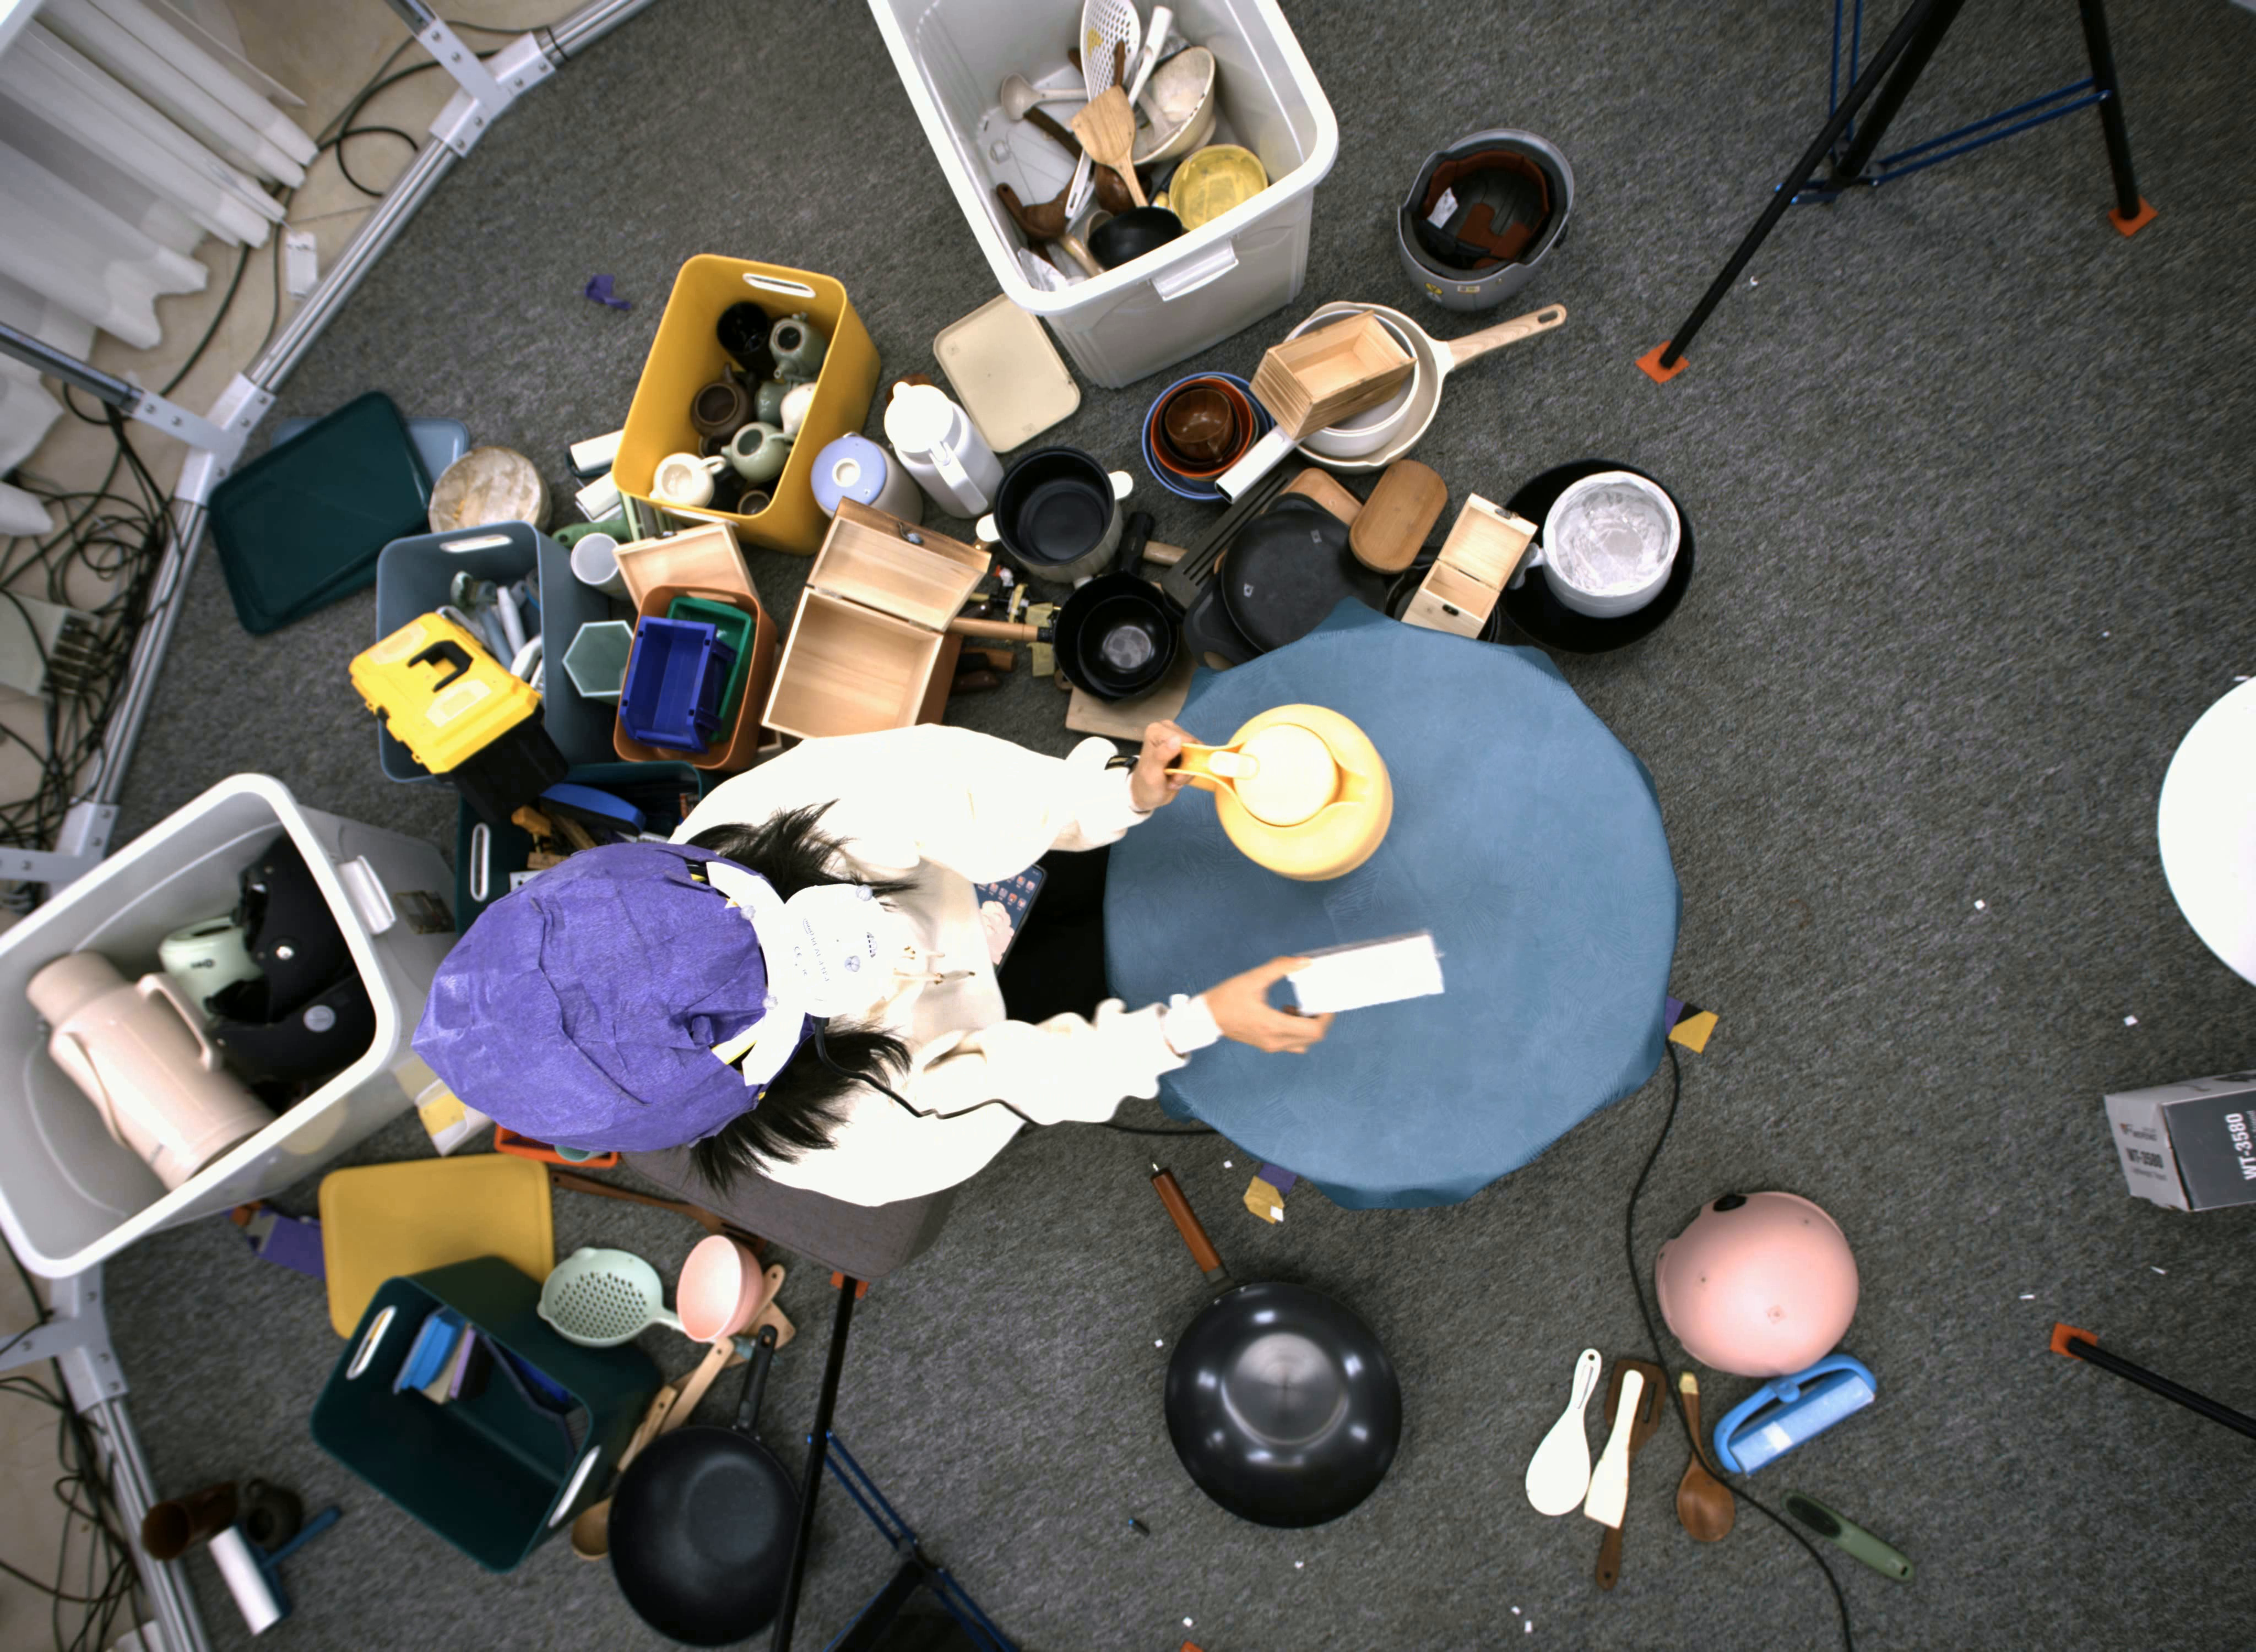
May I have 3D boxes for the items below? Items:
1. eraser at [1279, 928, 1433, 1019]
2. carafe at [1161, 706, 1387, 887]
[{"bbox_3d":[0.213,0.135,1.293,0.135,0.045,0.050,-16,113,19],"label":"eraser"},{"bbox_3d":[0.142,-0.038,1.312,0.203,0.261,0.163,13,85,14],"label":"carafe"}]
